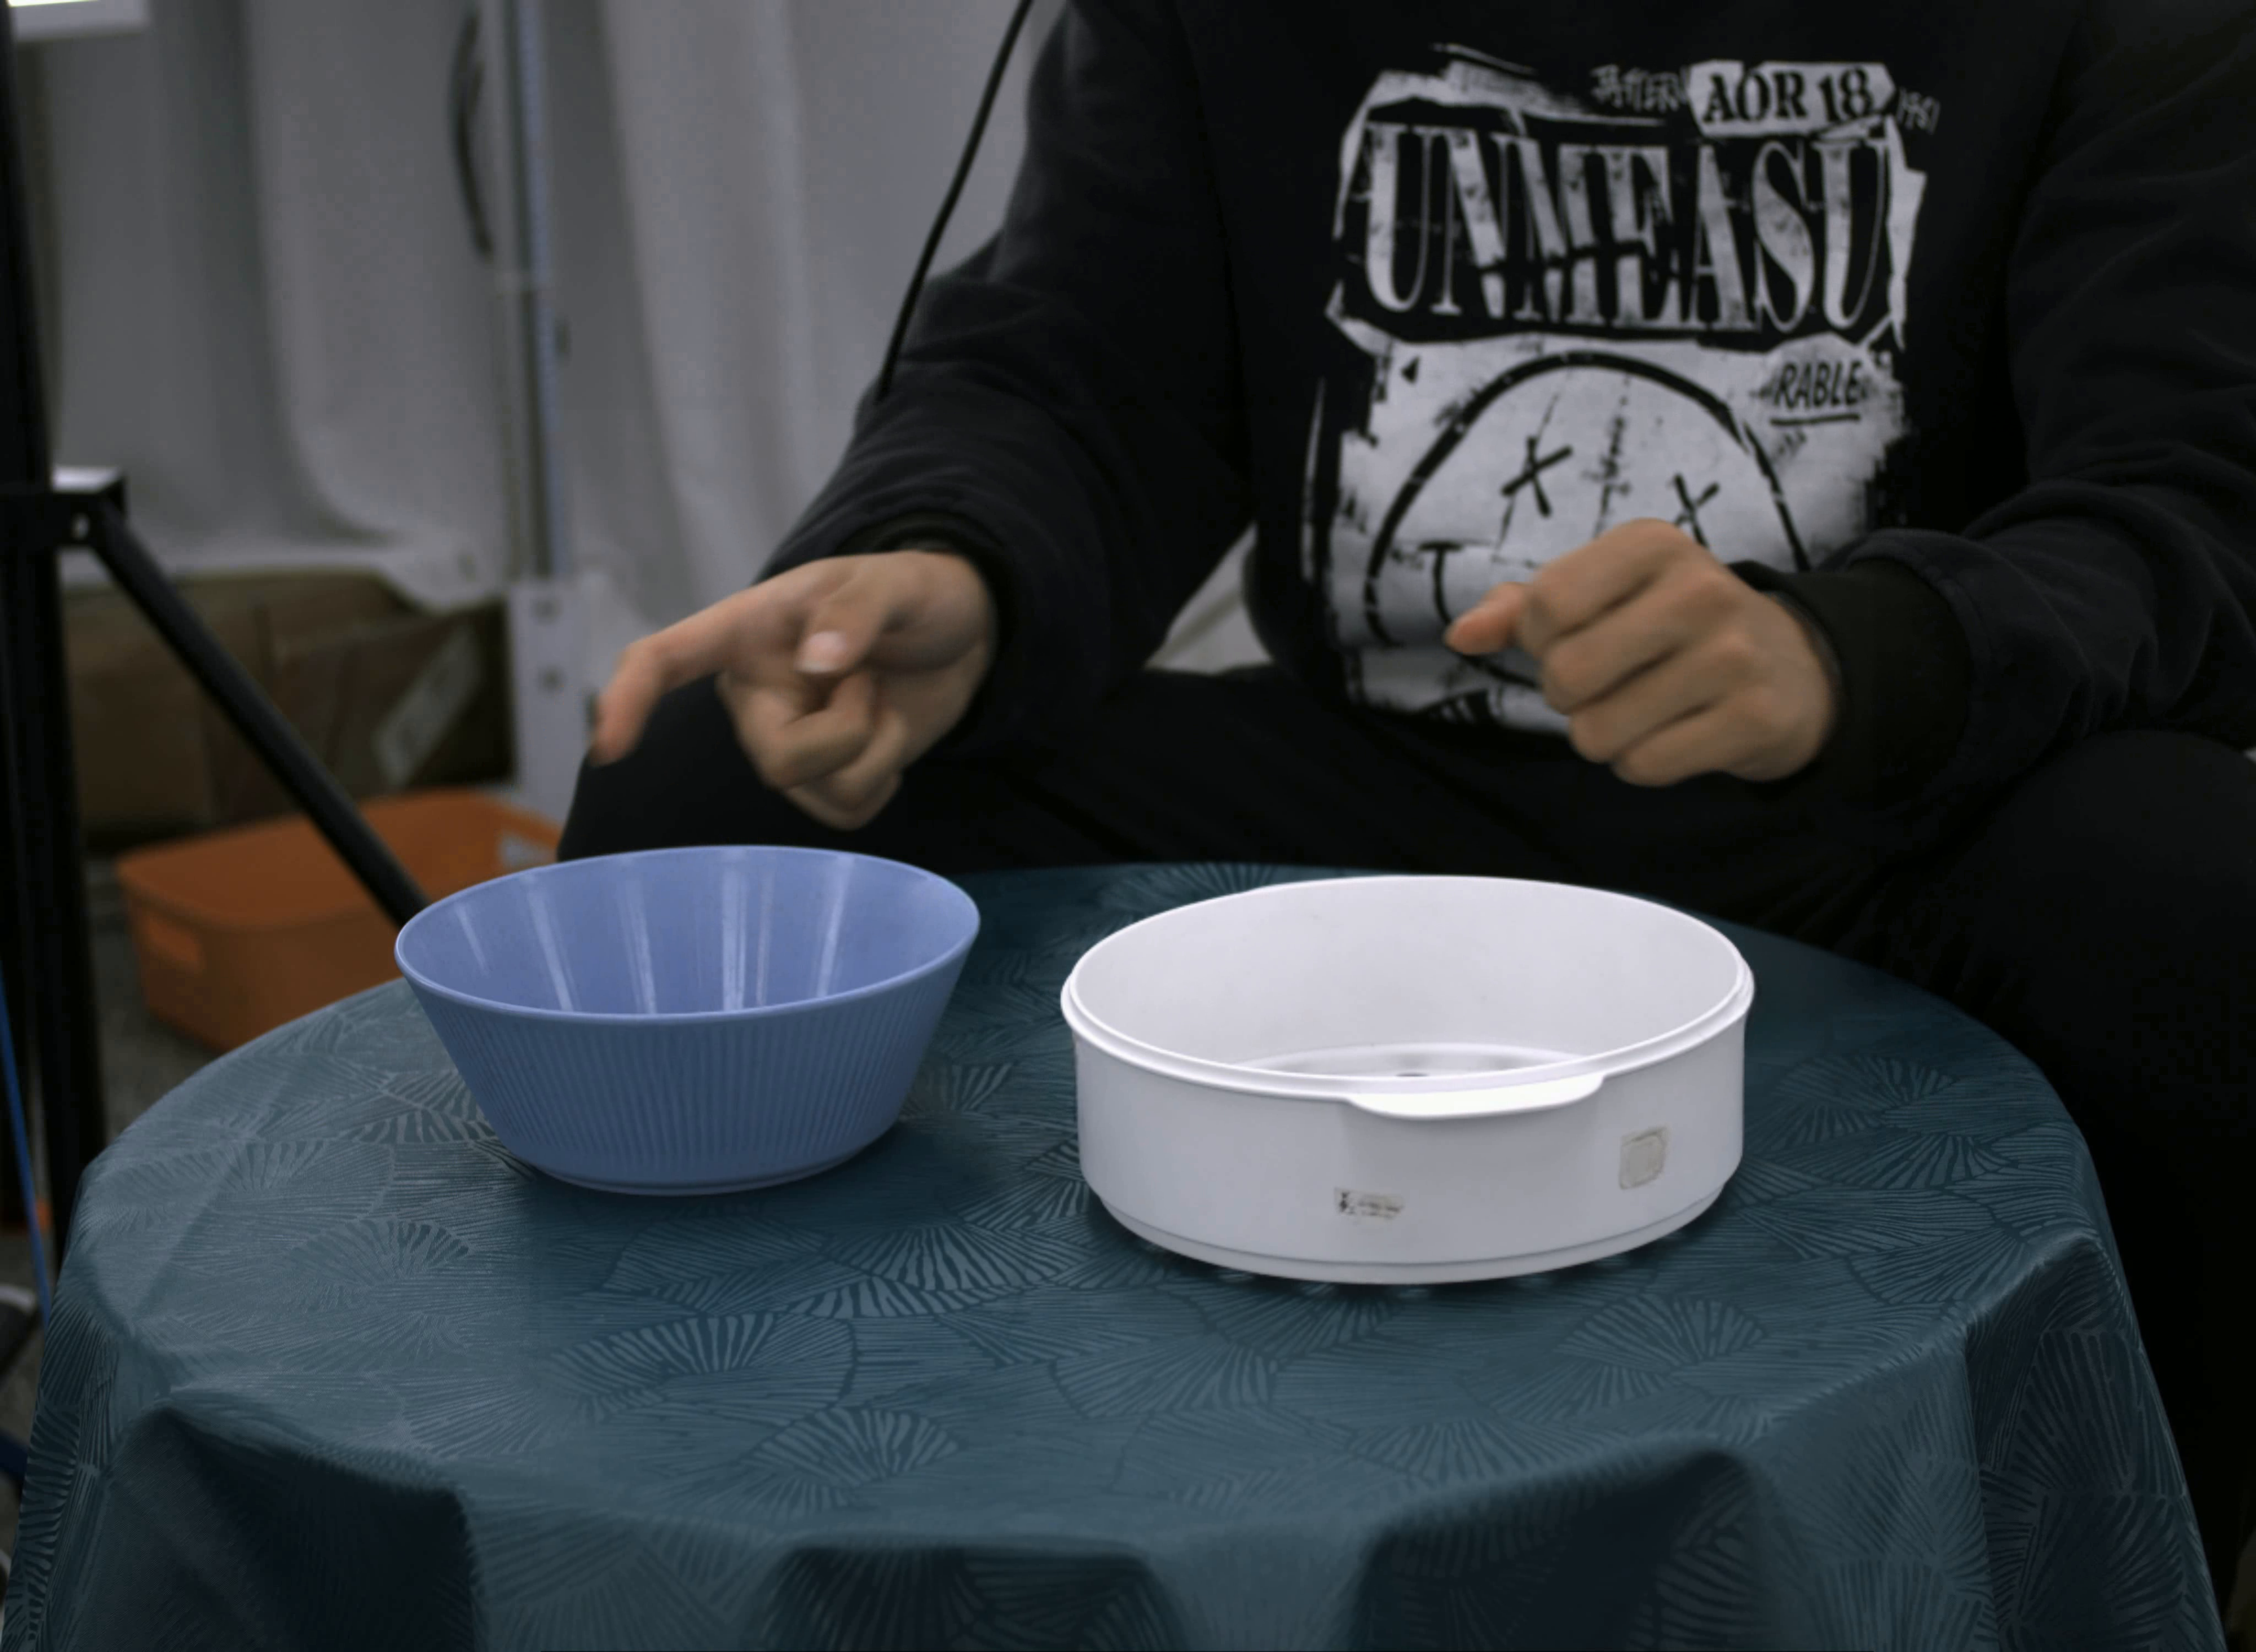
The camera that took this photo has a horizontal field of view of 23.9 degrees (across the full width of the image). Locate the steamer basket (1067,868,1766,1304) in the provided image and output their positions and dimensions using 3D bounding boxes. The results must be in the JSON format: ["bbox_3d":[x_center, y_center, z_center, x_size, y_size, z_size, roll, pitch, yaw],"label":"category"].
[{"bbox_3d":[0.084,0.075,1.535,0.200,0.069,0.233,-5,18,-7],"label":"steamer basket"}]

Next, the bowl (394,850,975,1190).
[{"bbox_3d":[-0.133,0.061,1.617,0.175,0.070,0.177,-2,16,-1],"label":"bowl"}]
